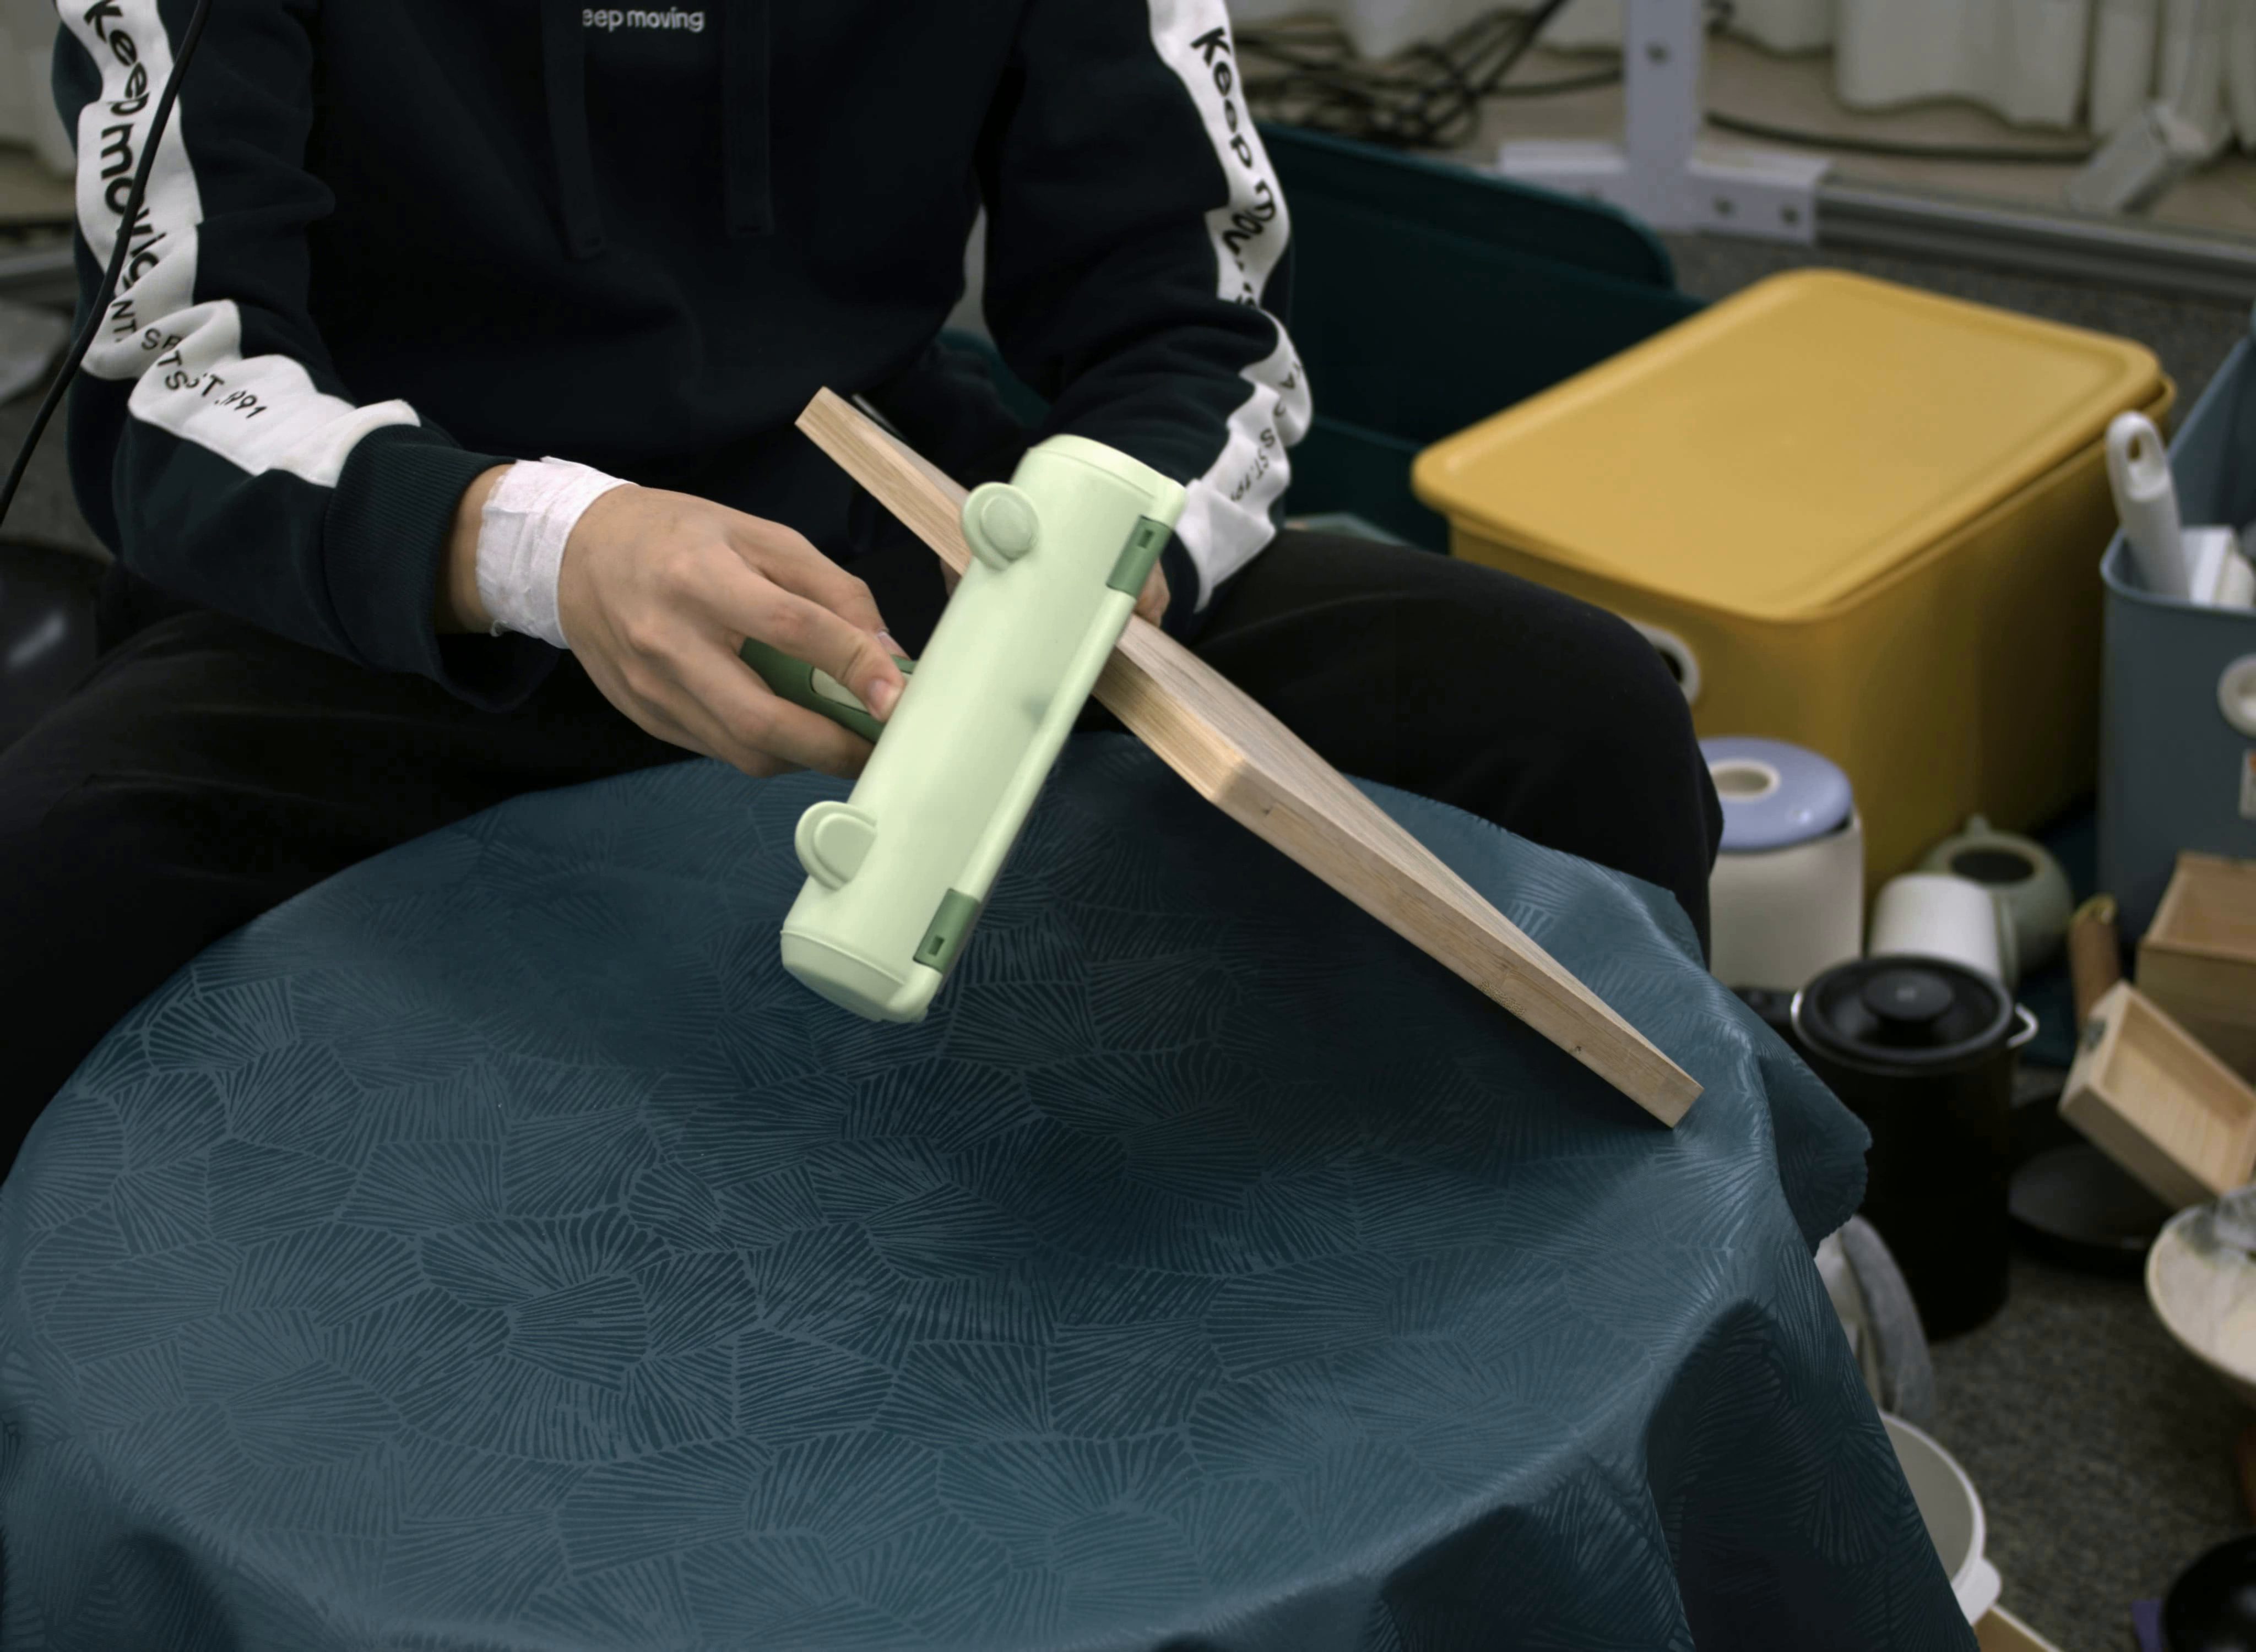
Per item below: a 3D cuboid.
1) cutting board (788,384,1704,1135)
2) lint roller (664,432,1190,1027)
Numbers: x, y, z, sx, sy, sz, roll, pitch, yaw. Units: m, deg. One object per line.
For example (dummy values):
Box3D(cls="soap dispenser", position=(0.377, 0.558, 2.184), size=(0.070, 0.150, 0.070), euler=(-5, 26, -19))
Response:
Box3D(cls="cutting board", position=(0.034, -0.028, 1.951), size=(0.249, 0.023, 0.351), euler=(36, 4, -36))
Box3D(cls="lint roller", position=(-0.093, -0.050, 1.815), size=(0.183, 0.081, 0.201), euler=(20, 75, 31))
